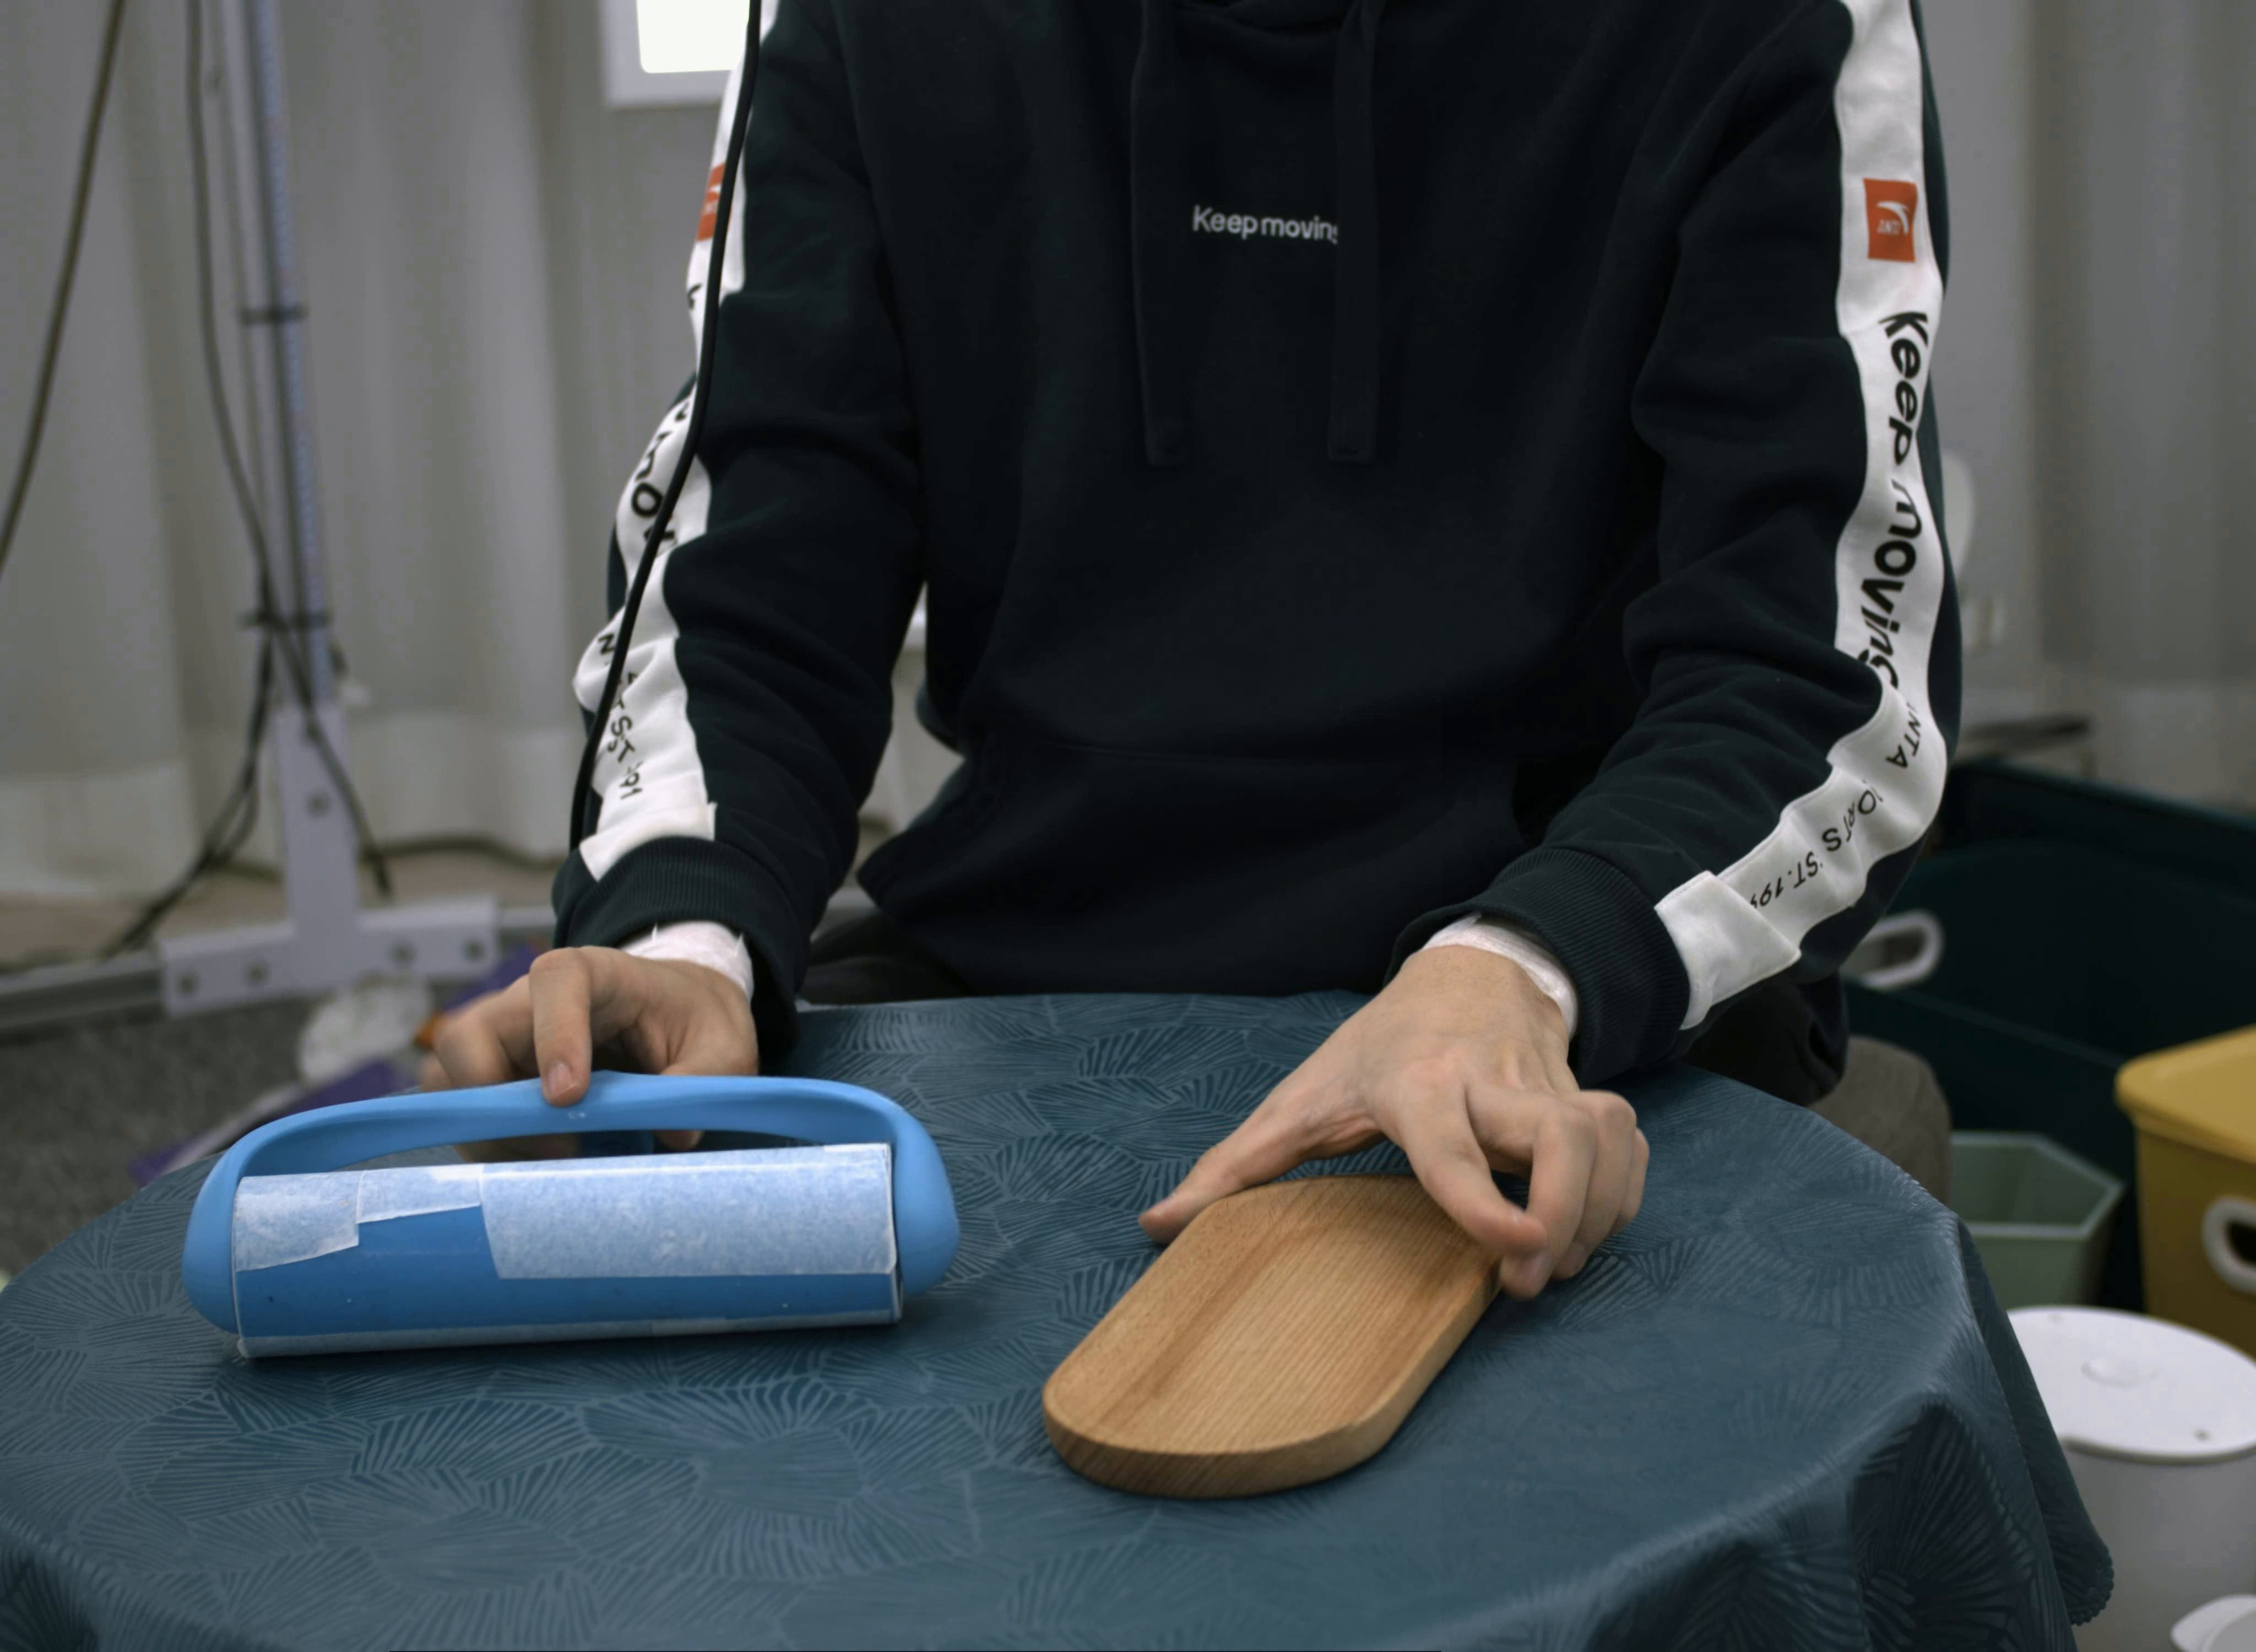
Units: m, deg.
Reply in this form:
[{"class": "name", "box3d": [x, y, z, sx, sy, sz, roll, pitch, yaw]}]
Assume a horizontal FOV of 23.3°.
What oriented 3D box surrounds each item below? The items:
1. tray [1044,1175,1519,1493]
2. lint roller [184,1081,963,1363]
[{"class": "tray", "box3d": [0.047, 0.143, 1.568, 0.101, 0.020, 0.232, 3, 14, 17]}, {"class": "lint roller", "box3d": [-0.166, 0.108, 1.662, 0.228, 0.067, 0.181, -5, 16, -2]}]
